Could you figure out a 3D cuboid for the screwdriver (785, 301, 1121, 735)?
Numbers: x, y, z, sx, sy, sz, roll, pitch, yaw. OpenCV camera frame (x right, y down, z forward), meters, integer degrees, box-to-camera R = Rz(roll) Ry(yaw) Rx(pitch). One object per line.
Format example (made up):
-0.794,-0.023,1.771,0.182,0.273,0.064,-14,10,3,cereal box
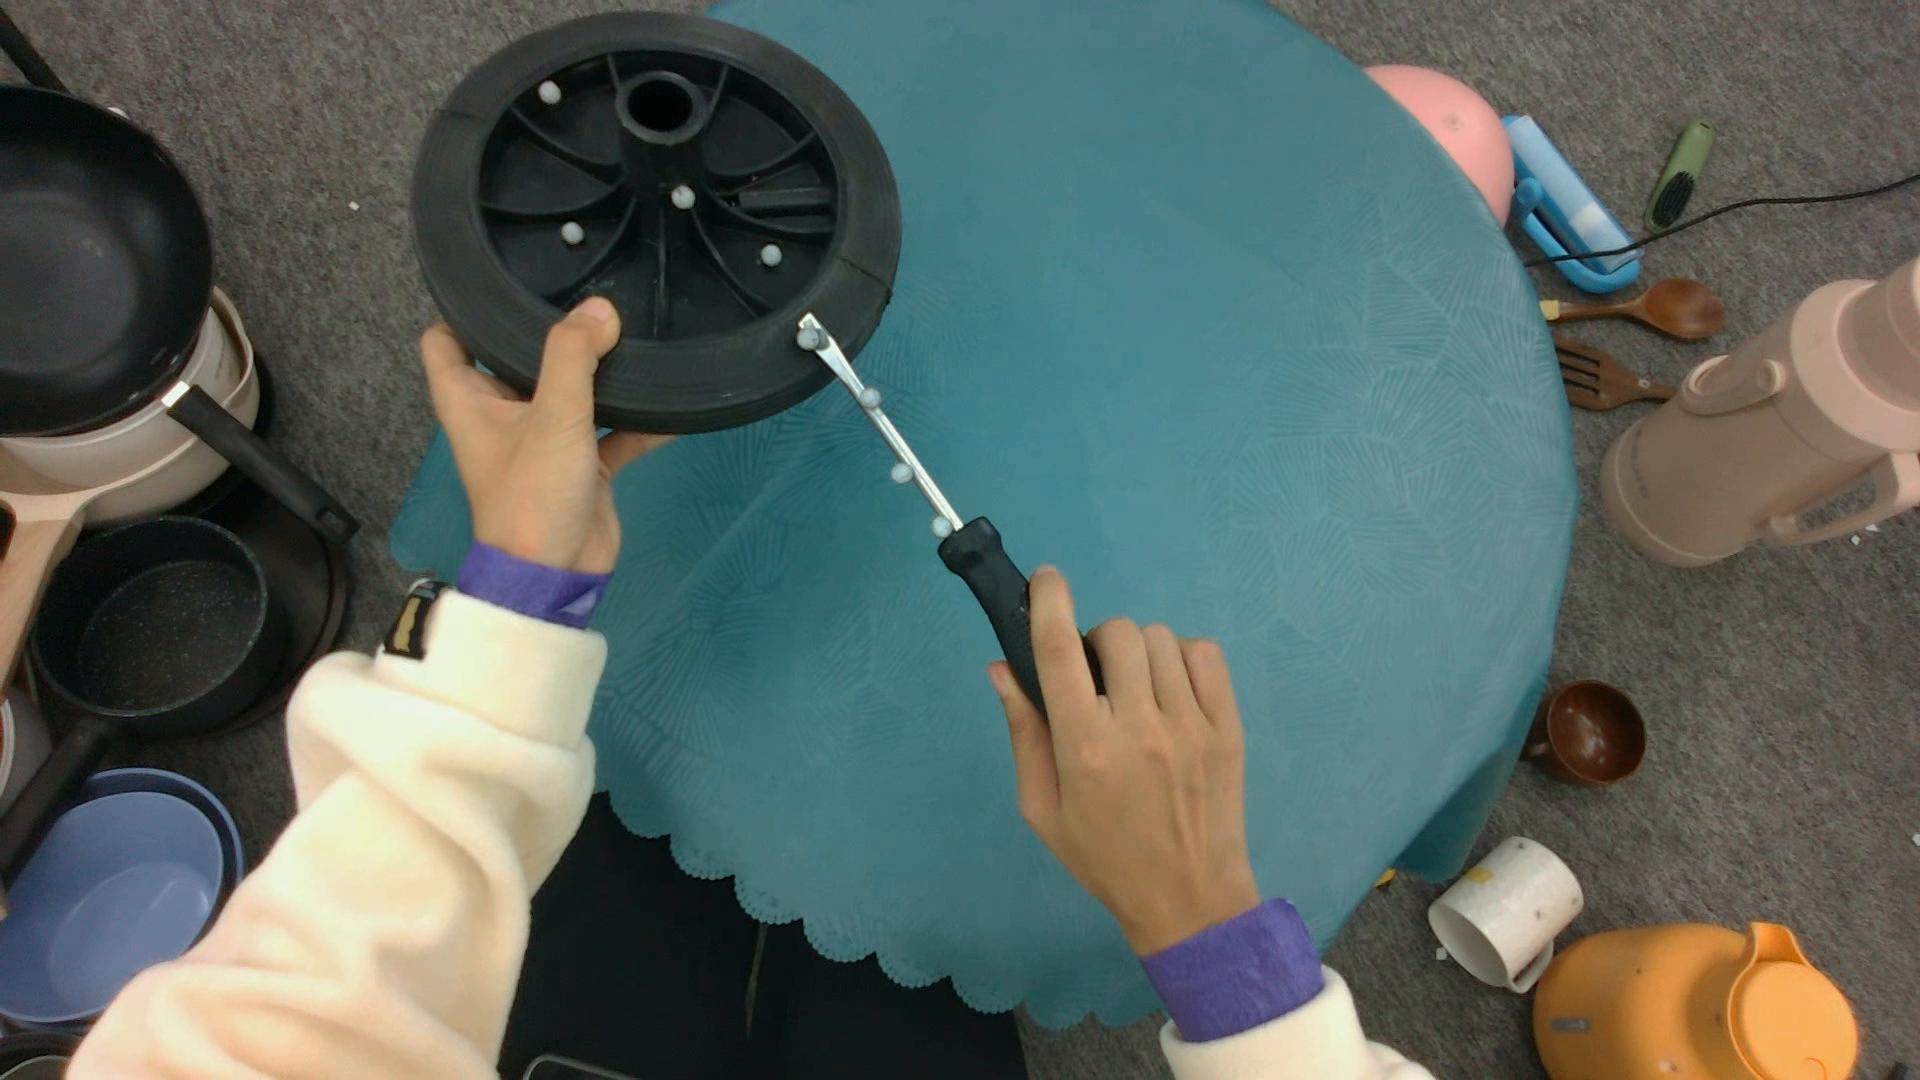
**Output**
-0.003,-0.013,0.511,0.031,0.031,0.198,-33,86,-18,screwdriver

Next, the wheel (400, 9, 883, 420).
-0.118,-0.143,0.533,0.190,0.079,0.187,-31,77,-24,wheel
